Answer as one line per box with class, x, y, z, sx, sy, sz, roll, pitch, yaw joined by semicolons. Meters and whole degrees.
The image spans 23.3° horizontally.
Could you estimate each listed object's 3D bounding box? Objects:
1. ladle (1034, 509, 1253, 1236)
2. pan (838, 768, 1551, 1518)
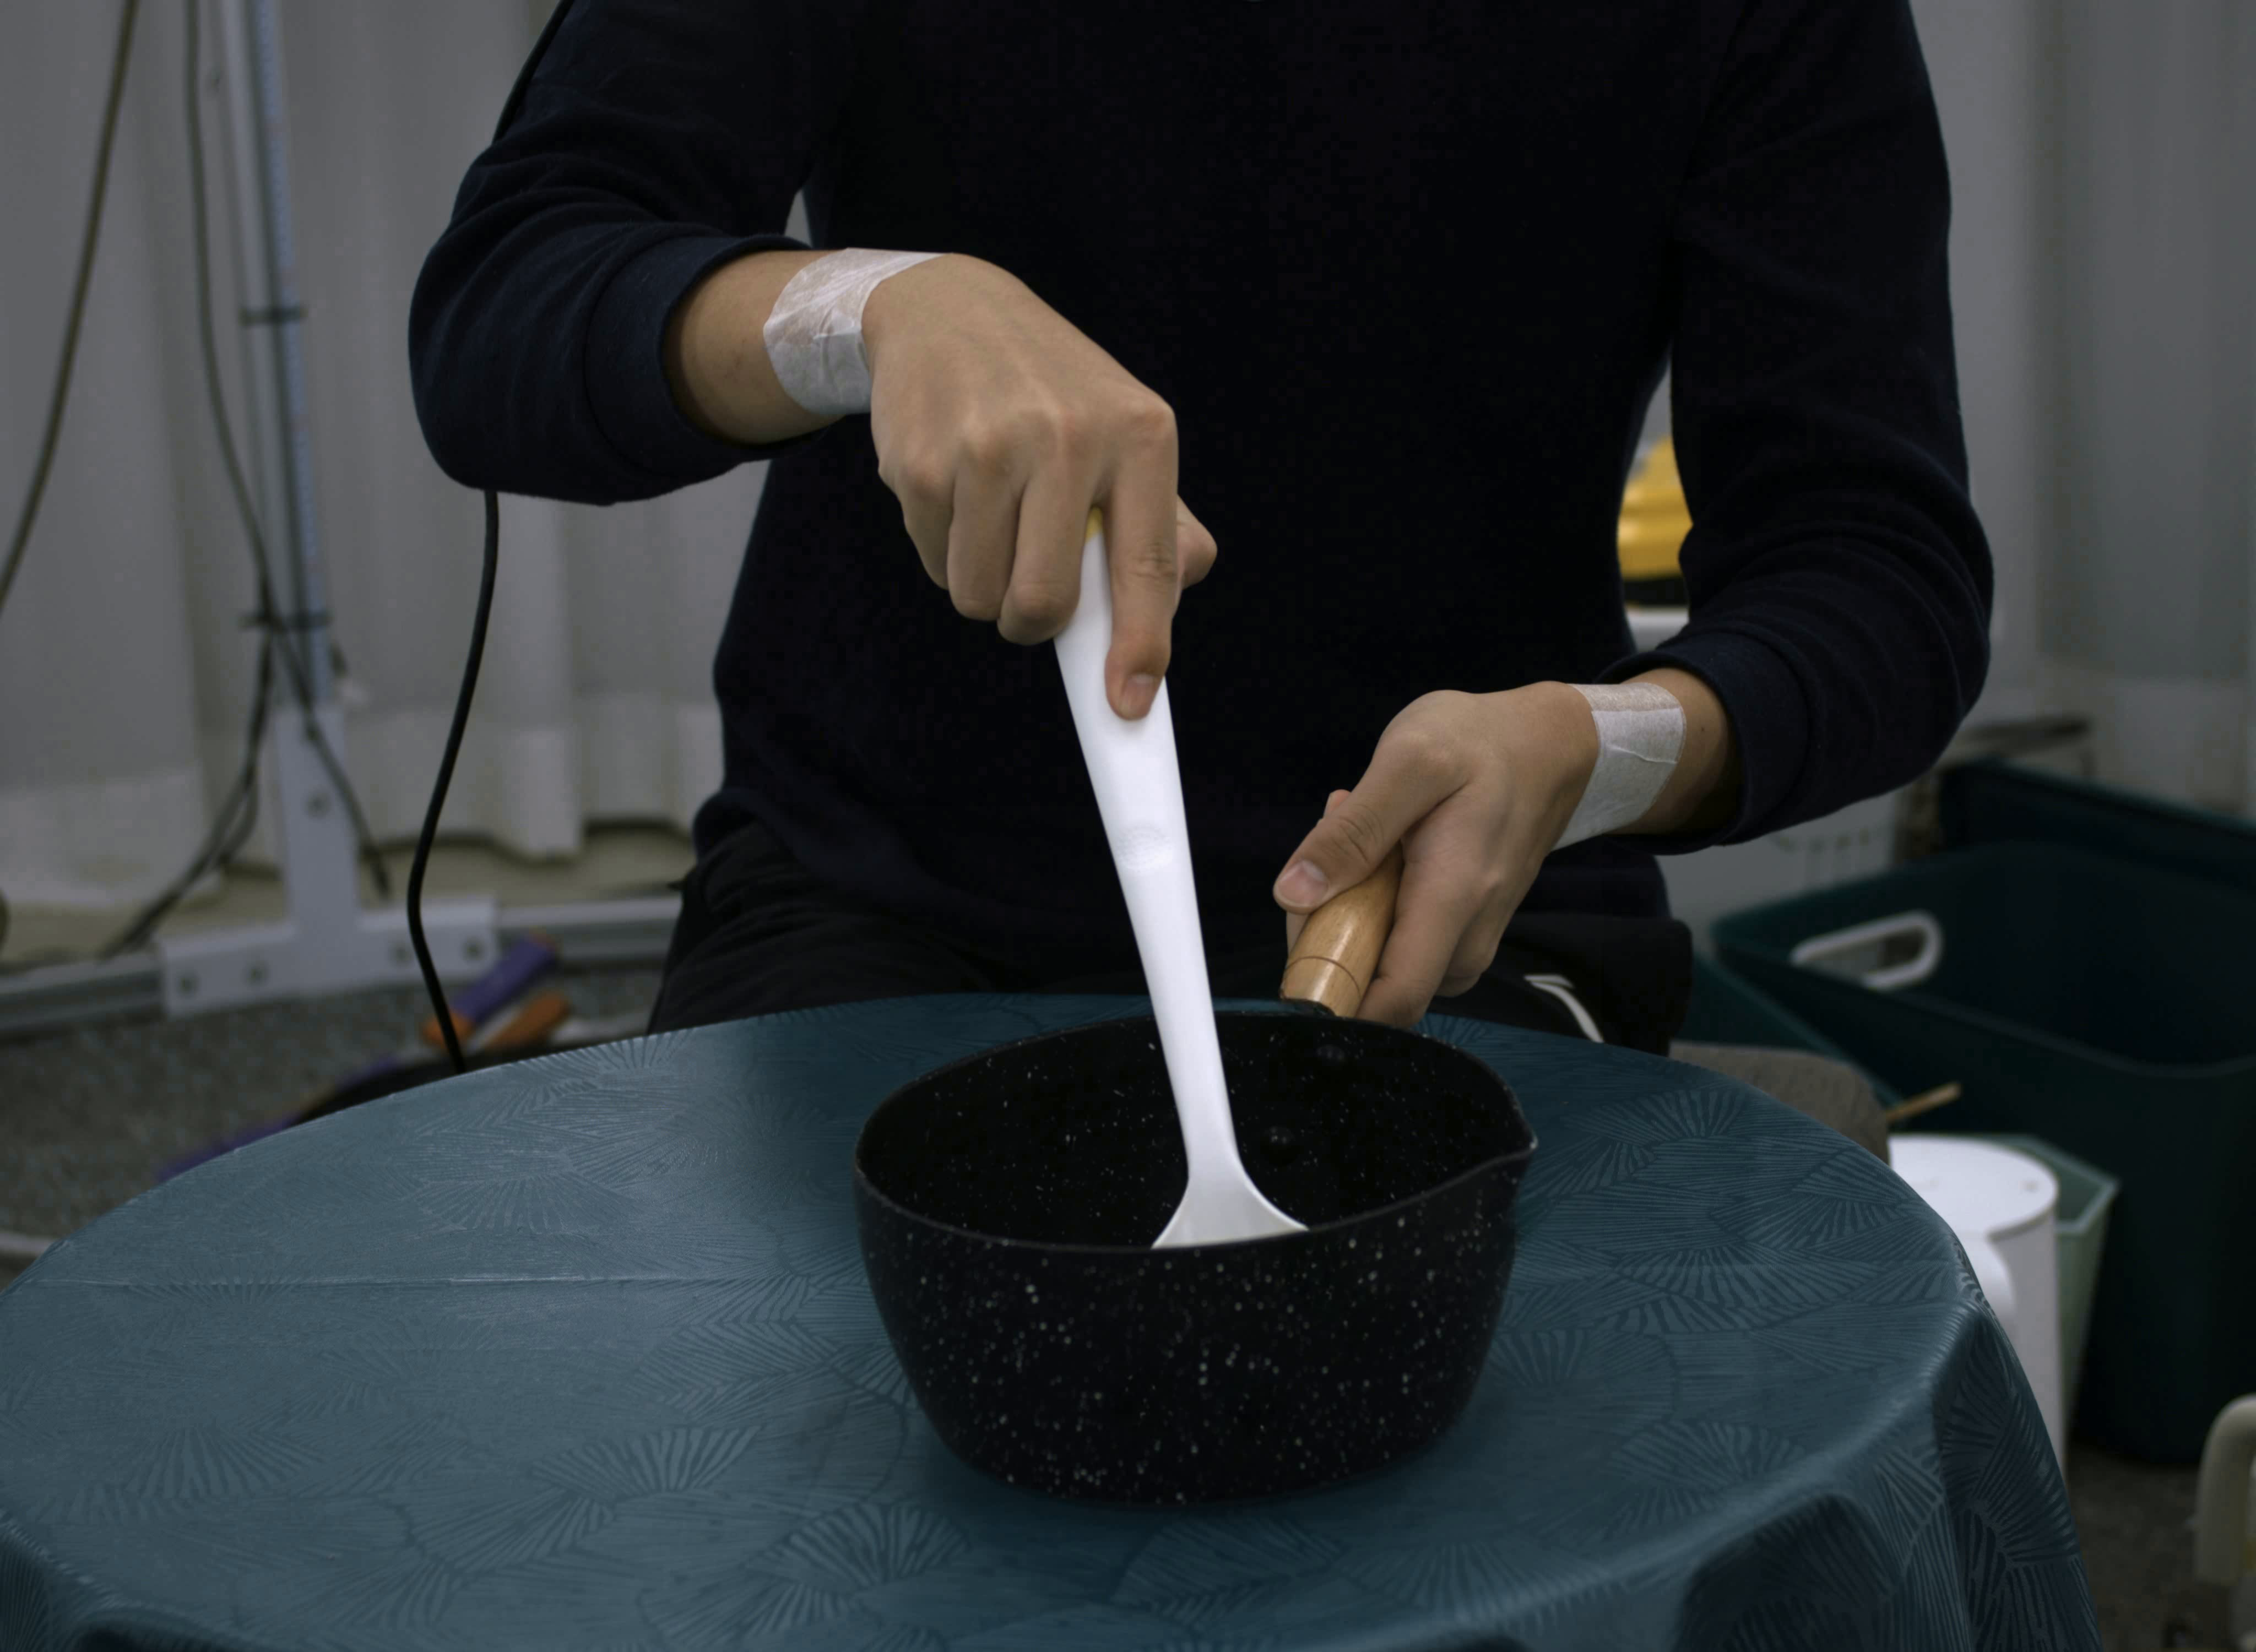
ladle;0.000;0.038;1.553;0.090;0.297;0.069;-19;-27;22
pan;0.039;0.086;1.584;0.207;0.107;0.345;0;19;17
